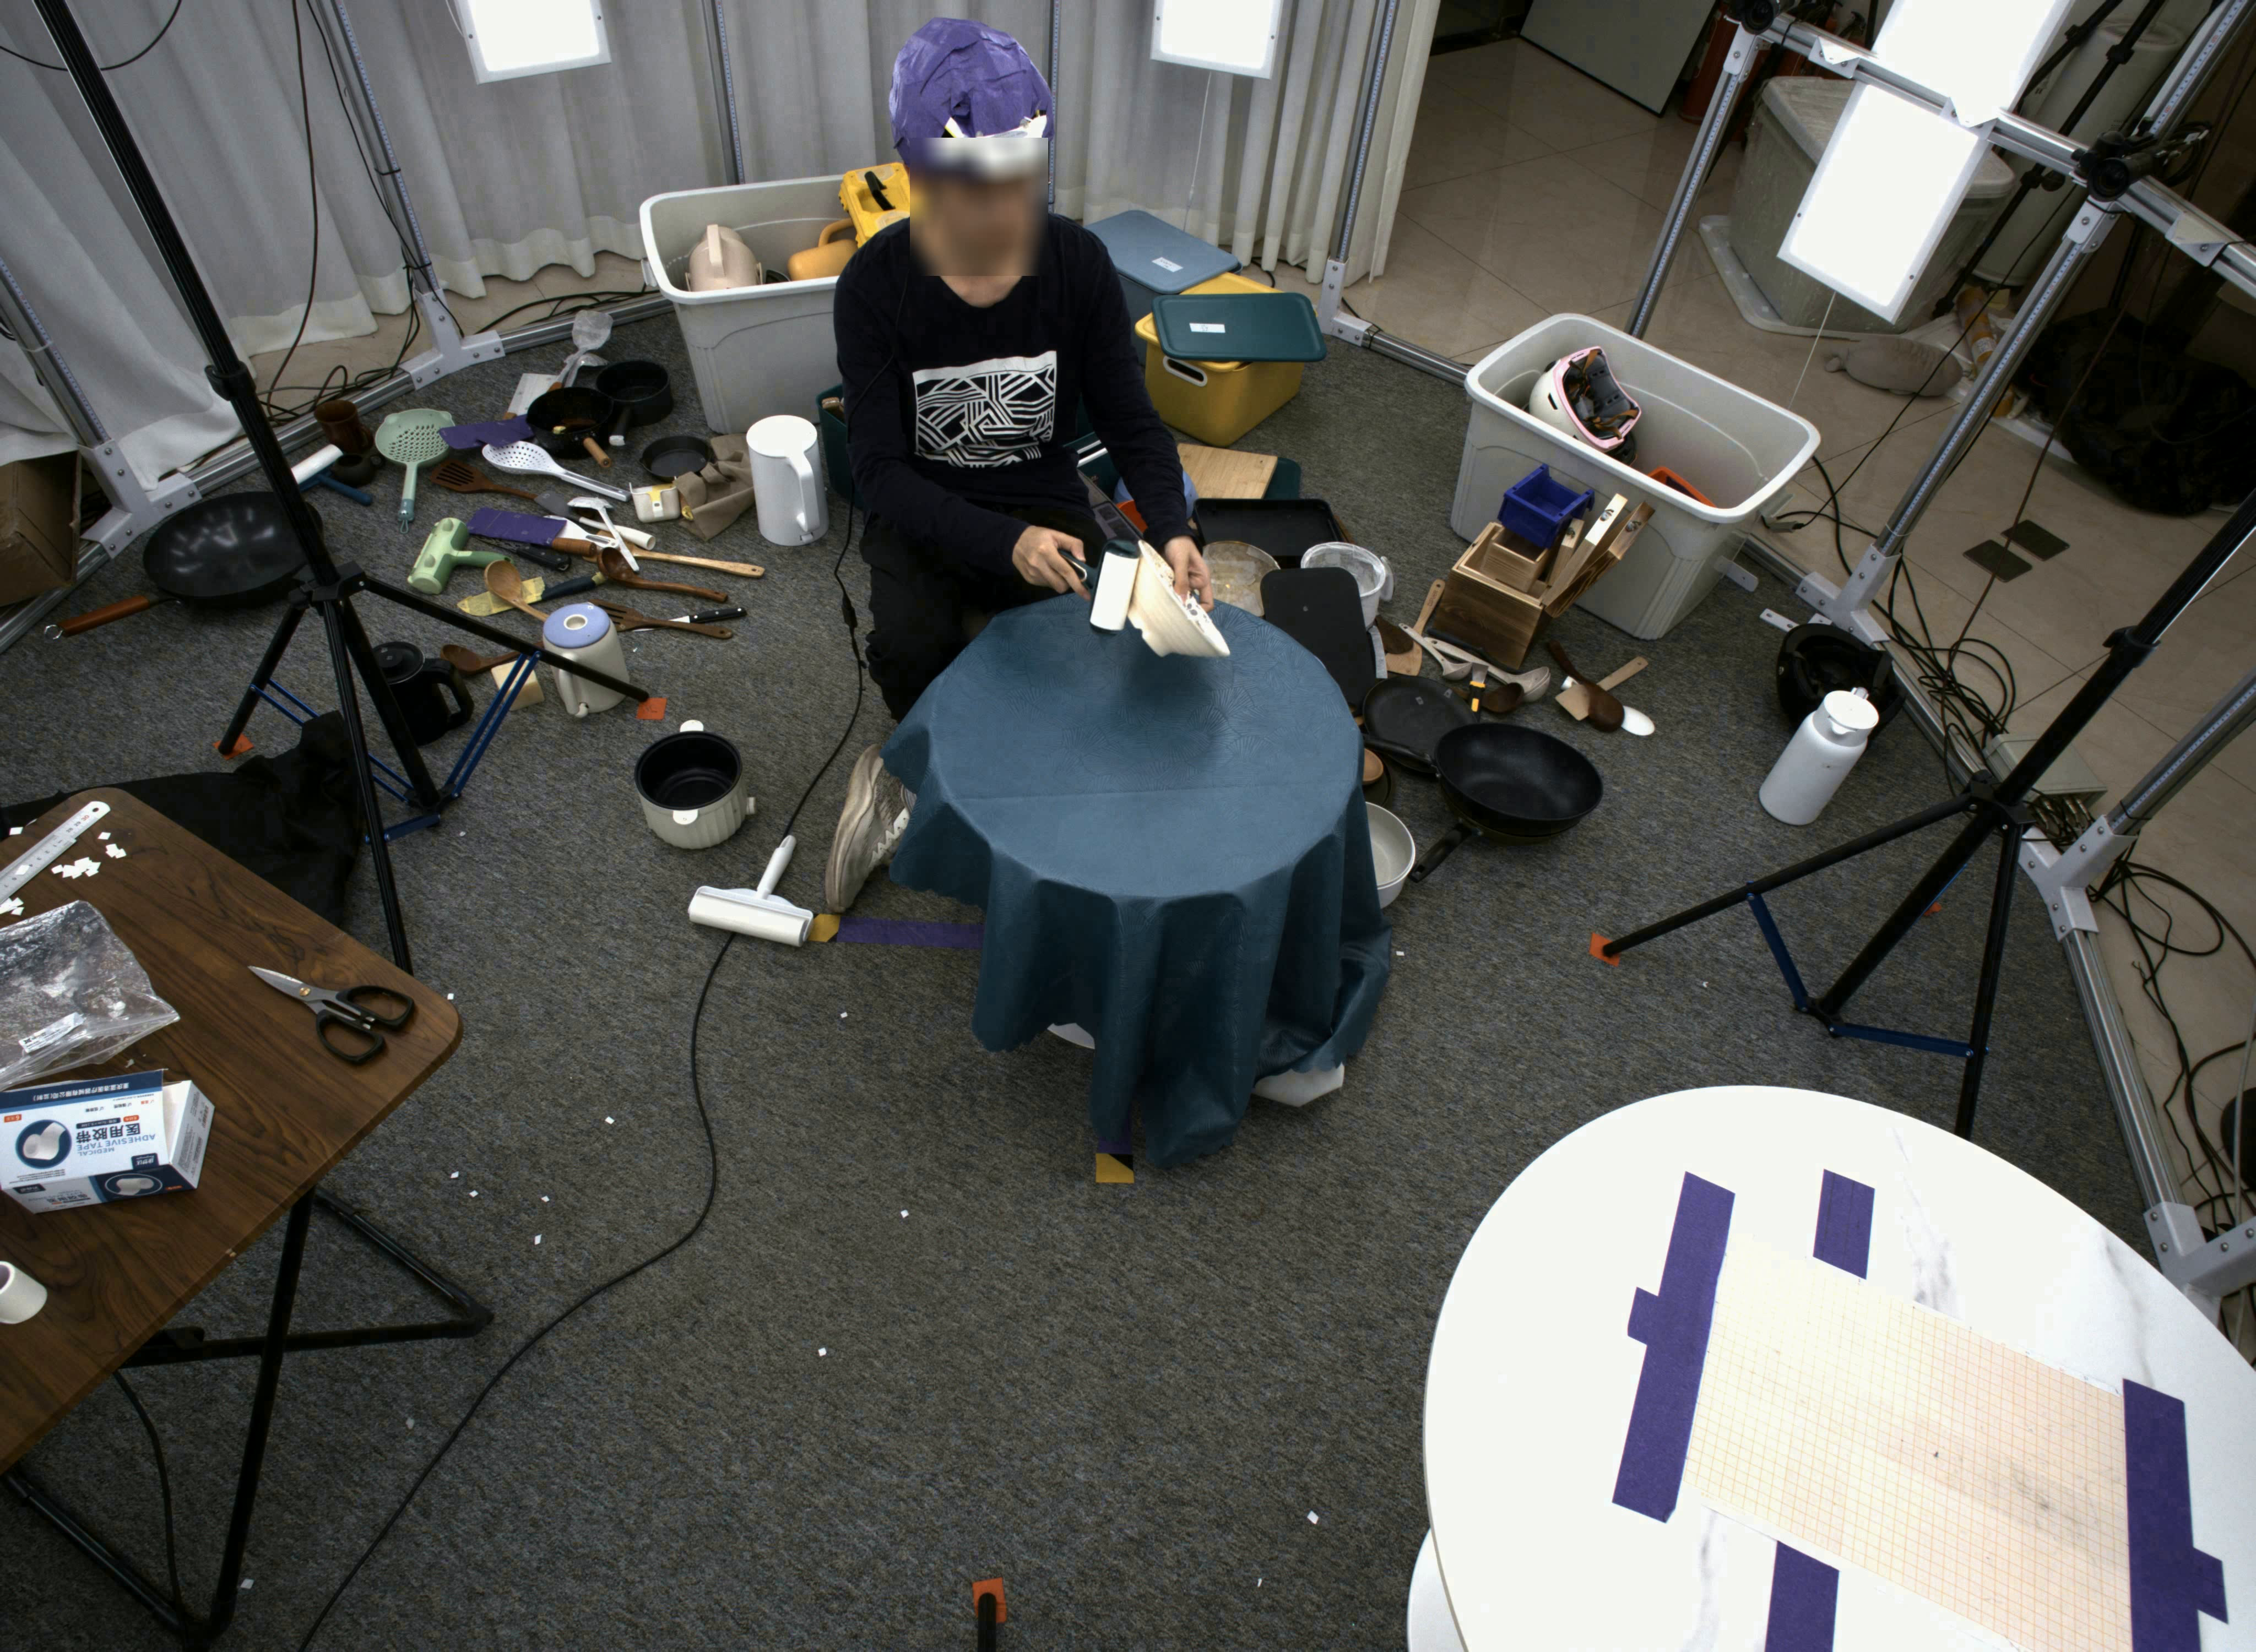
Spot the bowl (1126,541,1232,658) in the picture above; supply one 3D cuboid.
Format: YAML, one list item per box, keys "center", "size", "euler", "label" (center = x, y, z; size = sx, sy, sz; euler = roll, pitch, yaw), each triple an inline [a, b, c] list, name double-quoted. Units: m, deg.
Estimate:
- center: [0.052, -0.289, 1.769]
  size: [0.077, 0.200, 0.208]
  euler: [-40, 55, 10]
  label: "bowl"

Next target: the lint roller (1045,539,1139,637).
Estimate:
- center: [-0.066, -0.348, 1.778]
  size: [0.183, 0.132, 0.048]
  euler: [29, 25, 35]
  label: "lint roller"
